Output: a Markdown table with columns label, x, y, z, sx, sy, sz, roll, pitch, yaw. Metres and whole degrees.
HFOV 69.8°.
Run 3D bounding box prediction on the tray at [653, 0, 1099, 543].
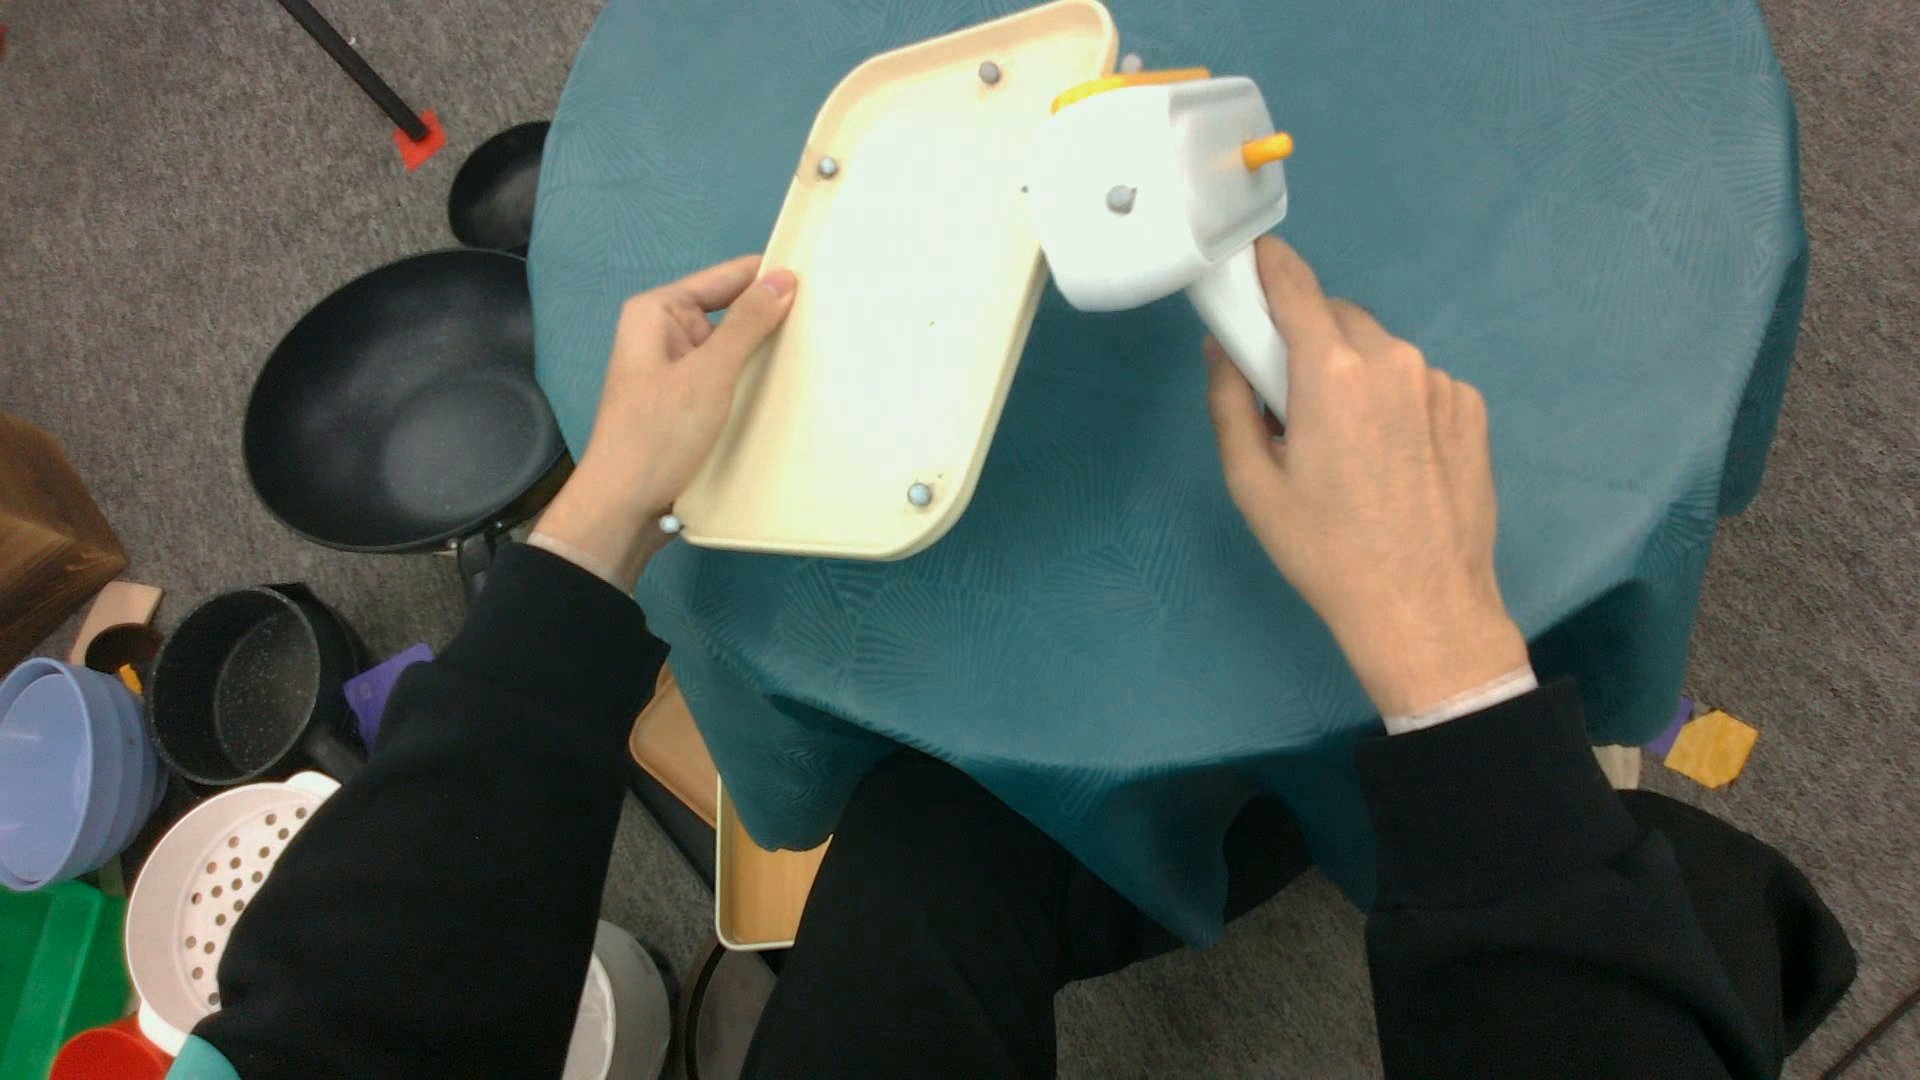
| label | x | y | z | sx | sy | sz | roll | pitch | yaw |
| --- | --- | --- | --- | --- | --- | --- | --- | --- | --- |
| tray | -0.035 | -0.108 | 0.553 | 0.171 | 0.017 | 0.240 | 3 | 68 | 44 |

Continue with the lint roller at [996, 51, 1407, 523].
| label | x | y | z | sx | sy | sz | roll | pitch | yaw |
| --- | --- | --- | --- | --- | --- | --- | --- | --- | --- |
| lint roller | 0.098 | -0.084 | 0.504 | 0.074 | 0.194 | 0.192 | -24 | 103 | 25 |
